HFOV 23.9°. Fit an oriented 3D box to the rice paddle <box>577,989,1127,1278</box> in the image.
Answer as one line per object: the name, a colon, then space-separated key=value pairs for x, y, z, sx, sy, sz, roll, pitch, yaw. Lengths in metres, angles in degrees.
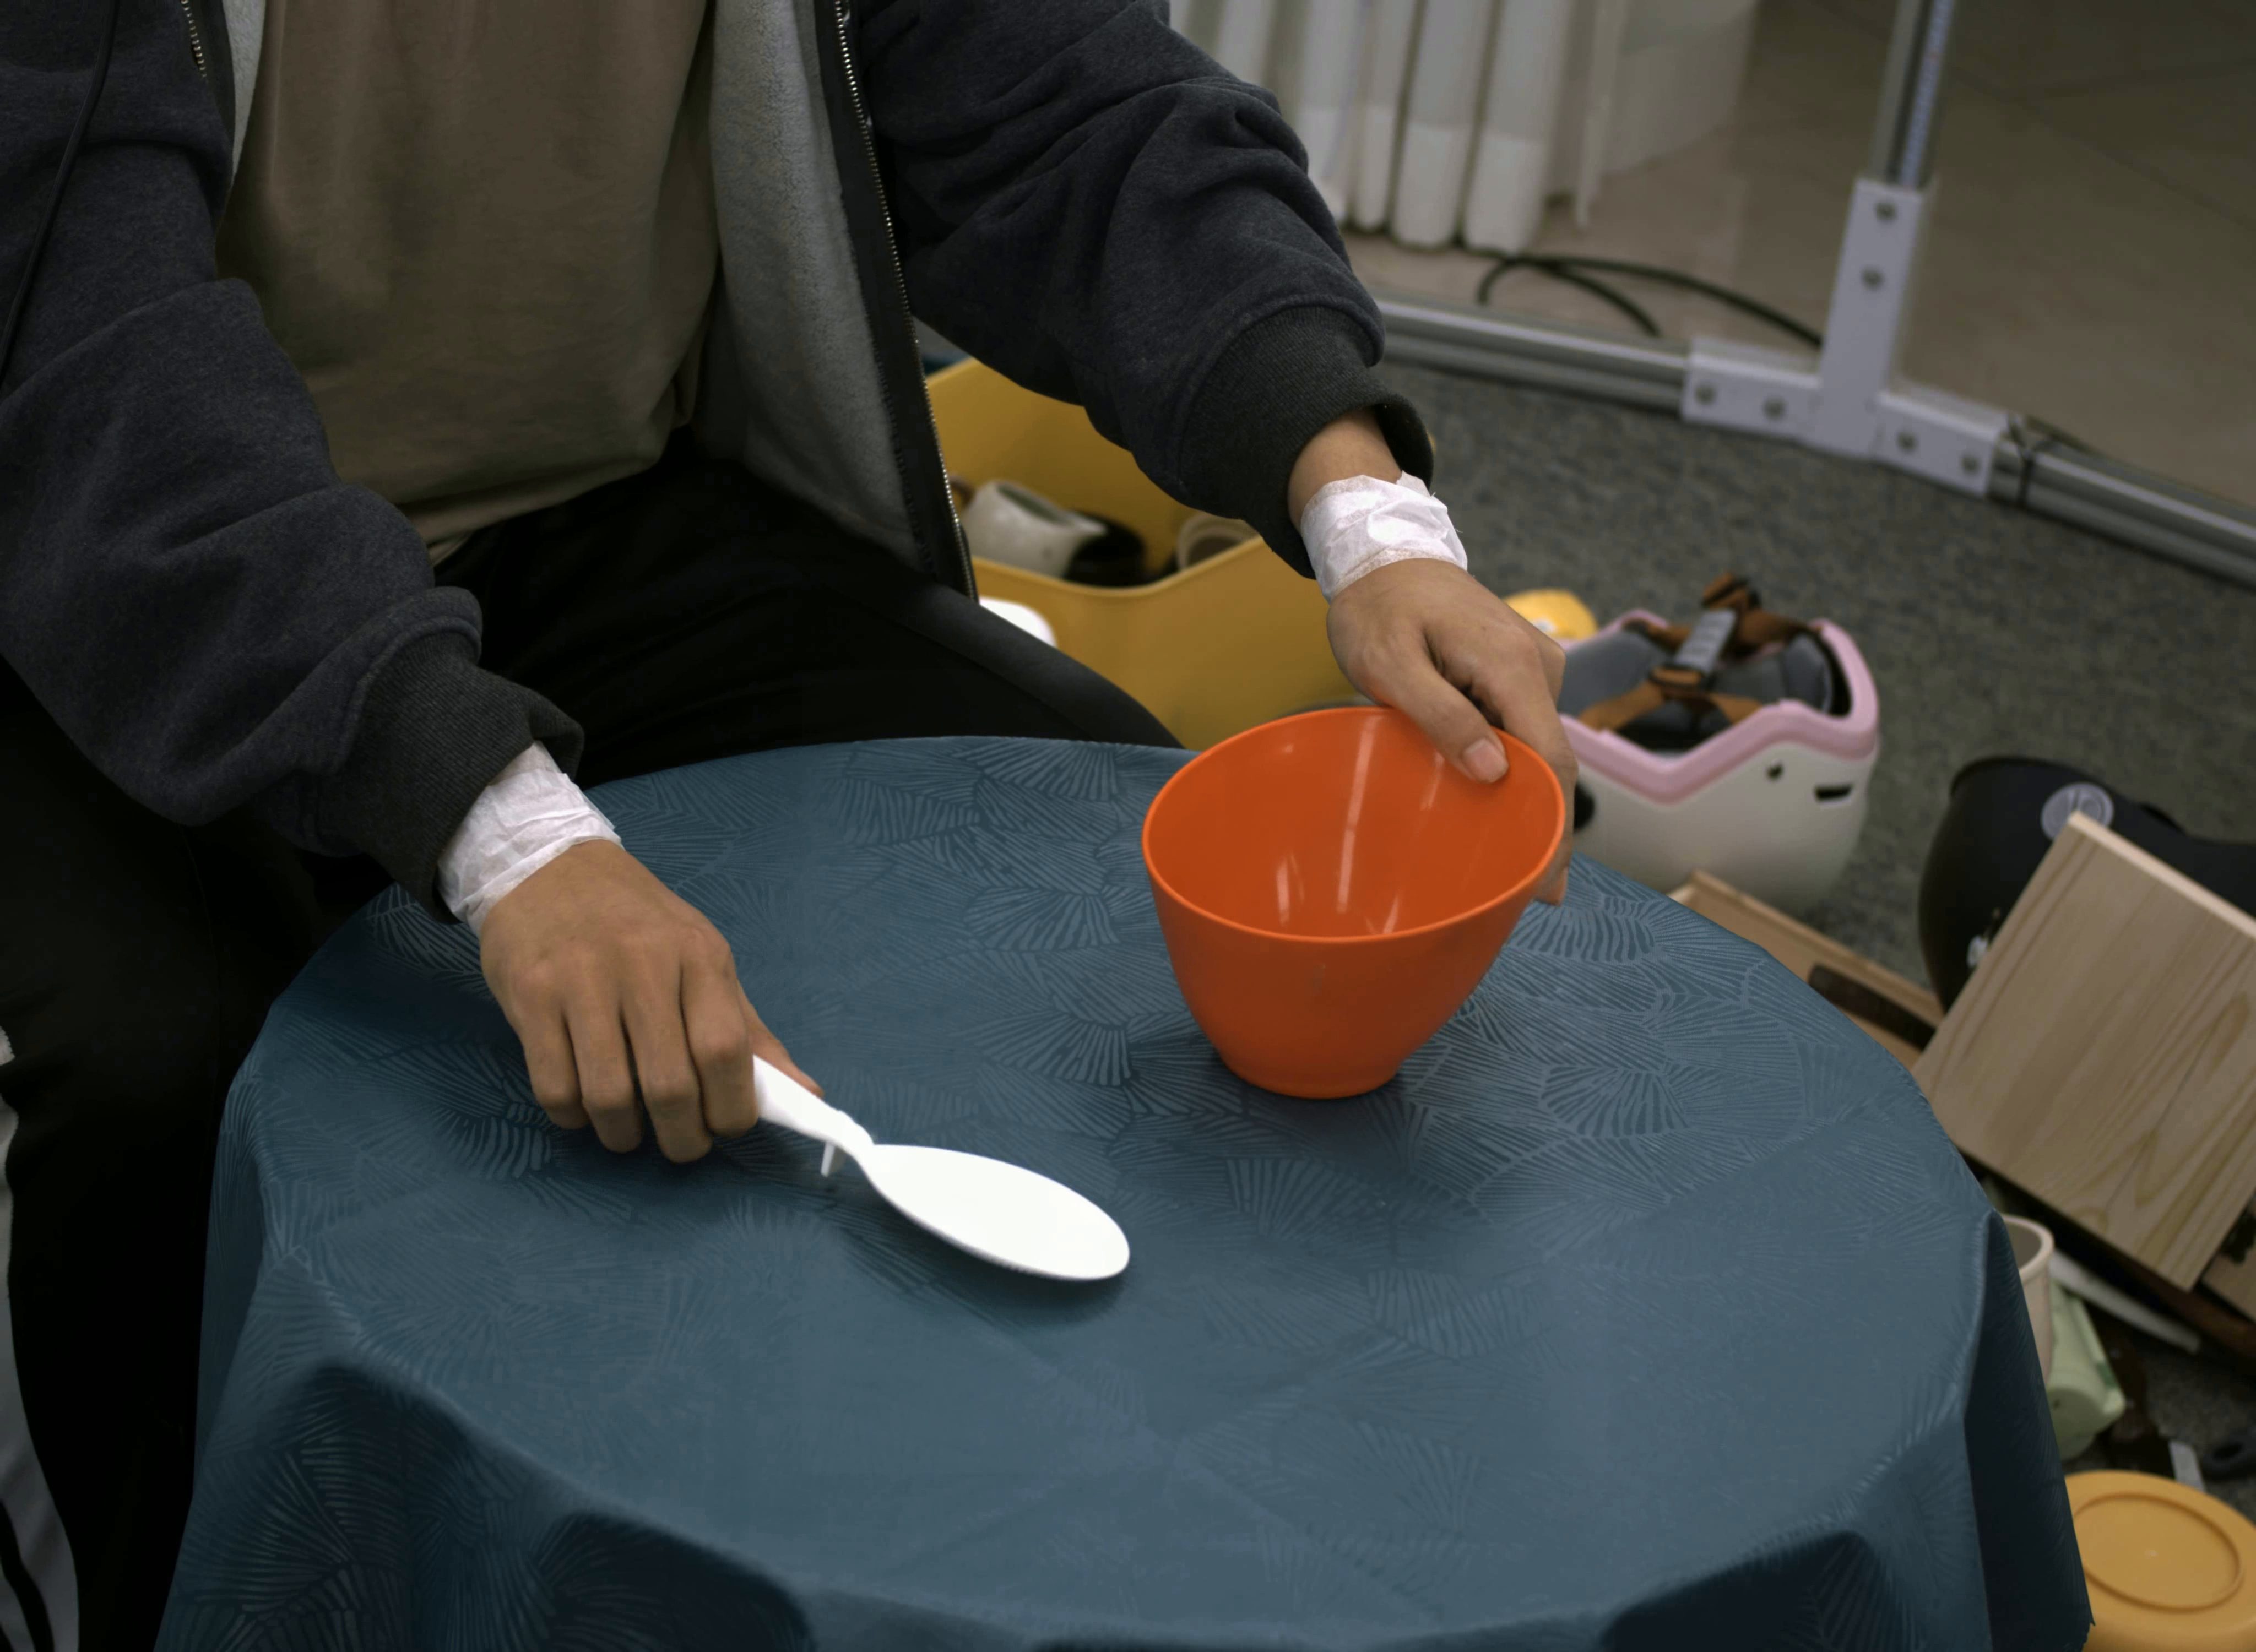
rice paddle: x=-0.091 y=0.105 z=1.776 sx=0.206 sy=0.029 sz=0.068 roll=22 pitch=25 yaw=21

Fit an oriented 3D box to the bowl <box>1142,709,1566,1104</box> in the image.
bowl: x=0.077 y=0.035 z=1.878 sx=0.147 sy=0.104 sz=0.149 roll=2 pitch=29 yaw=-2
